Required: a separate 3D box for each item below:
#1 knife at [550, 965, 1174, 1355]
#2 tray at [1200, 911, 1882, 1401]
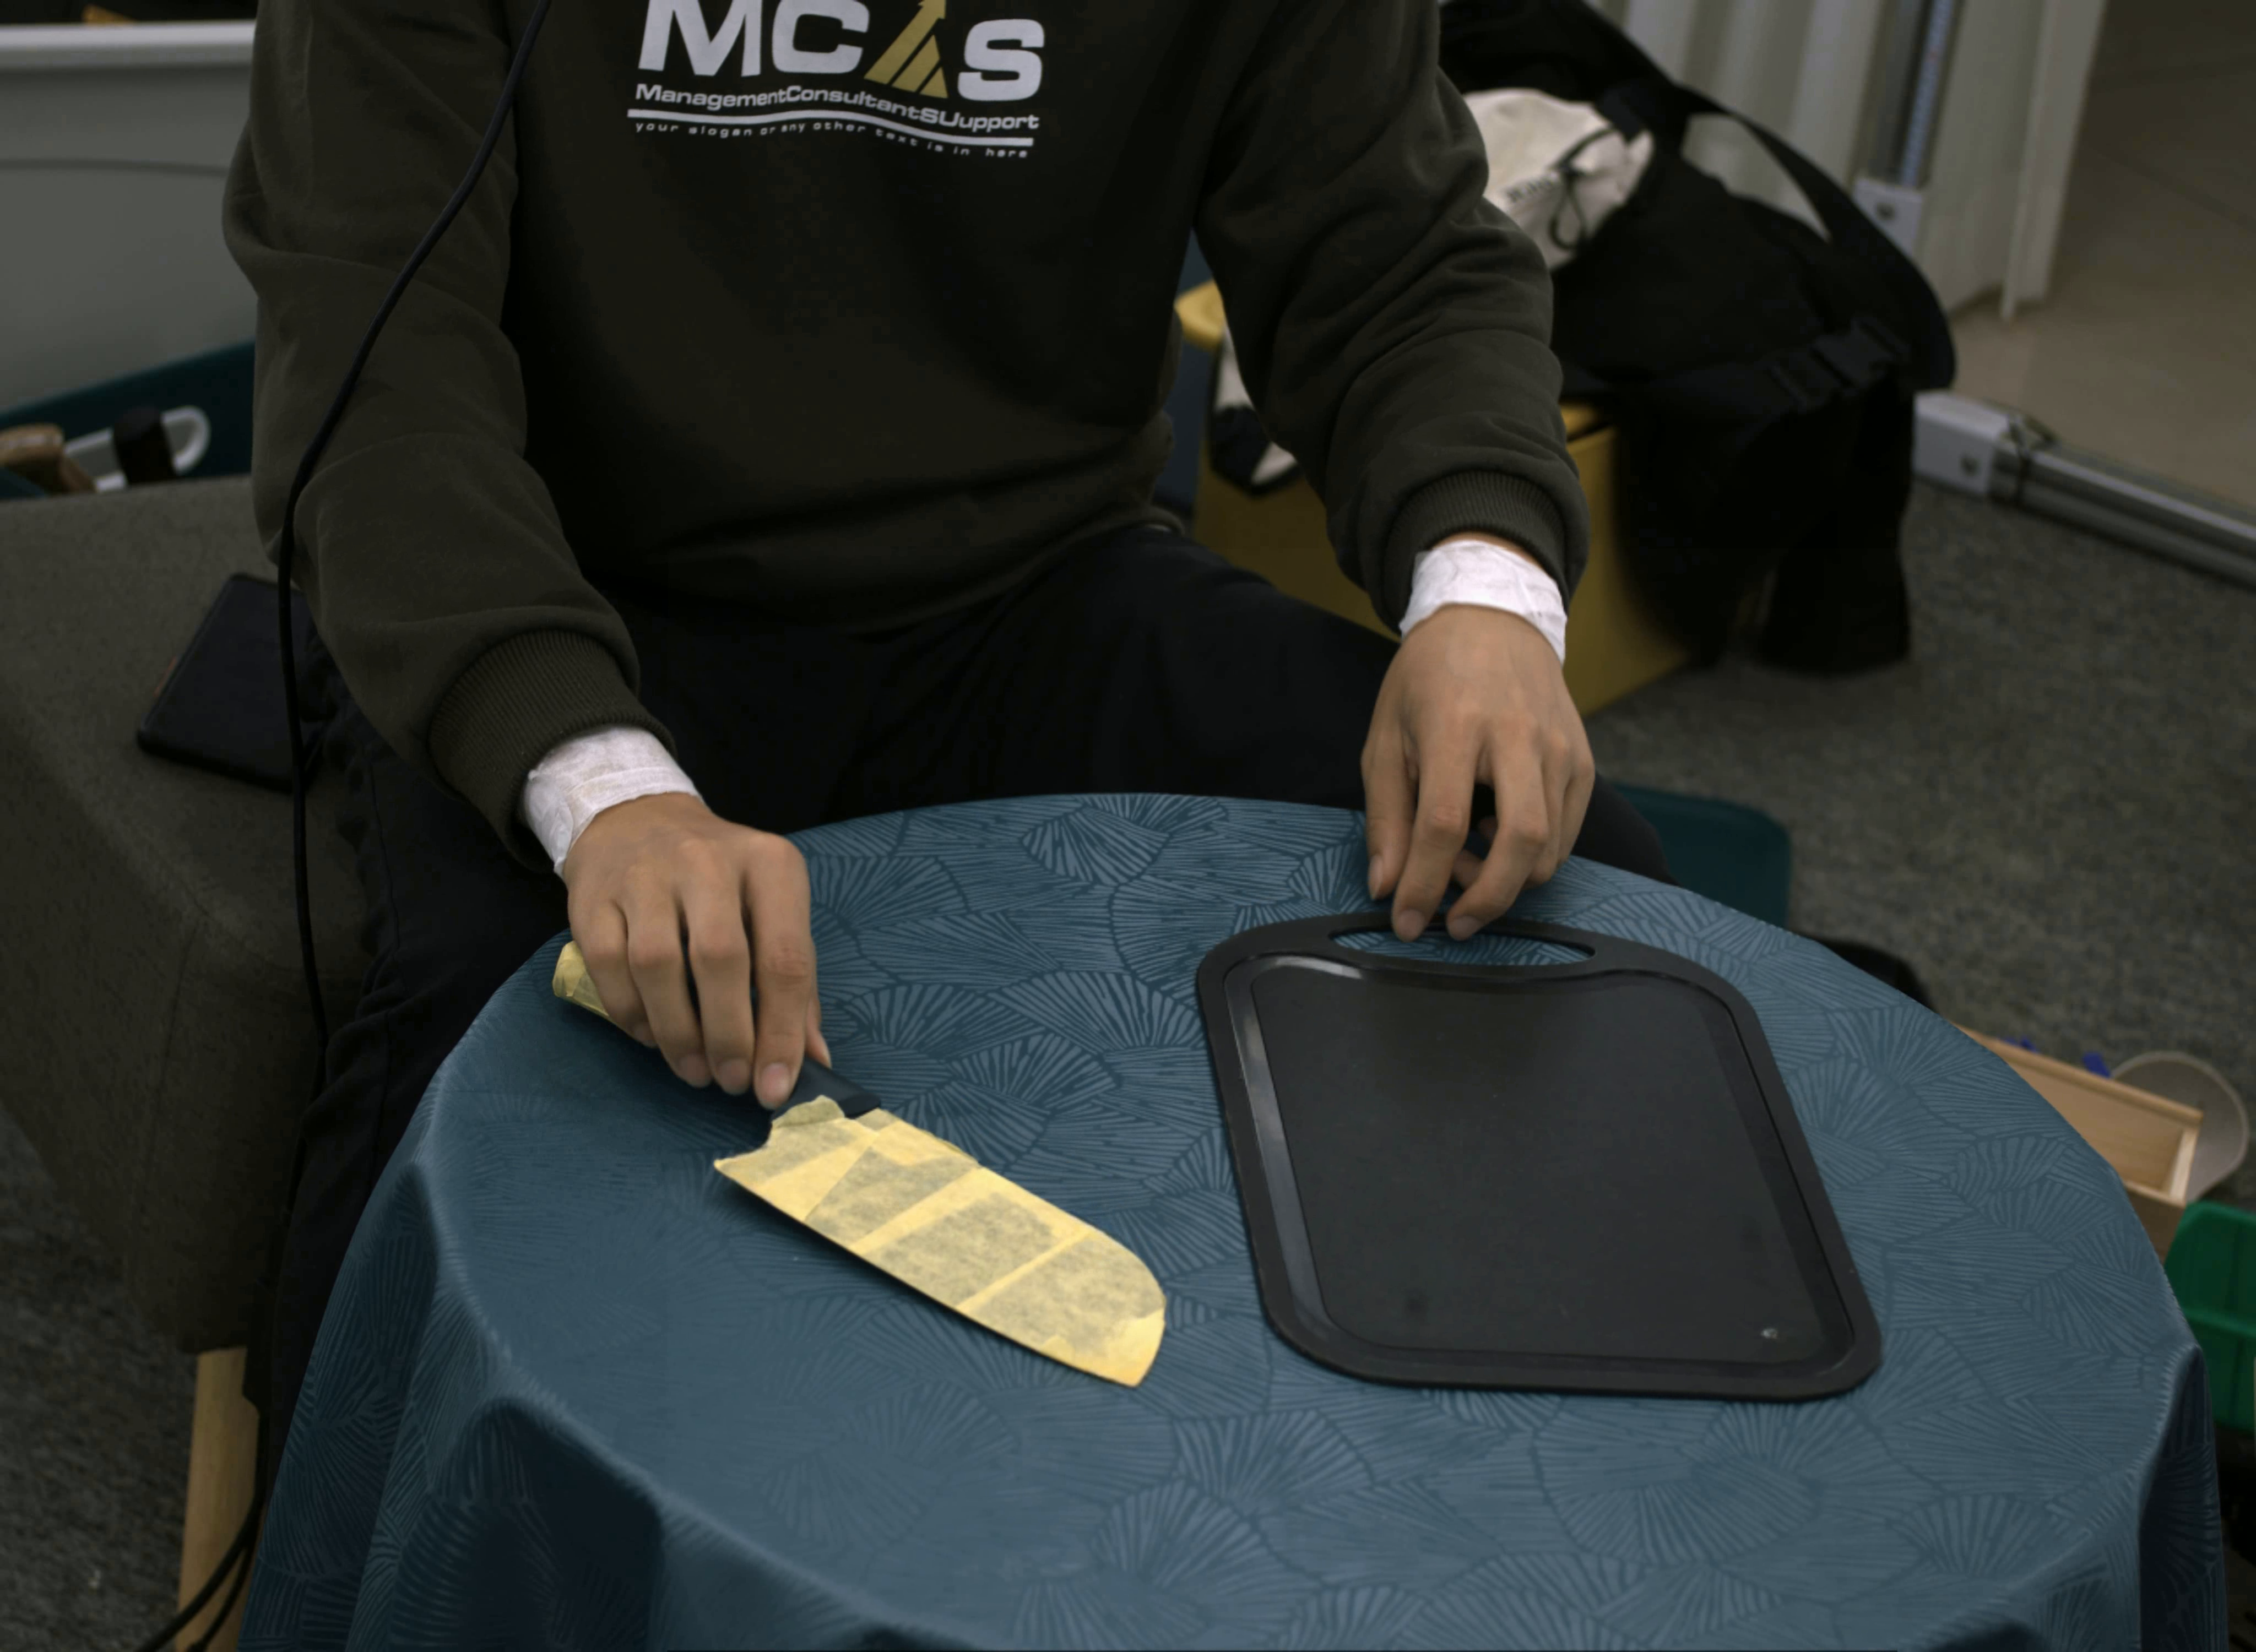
[{"bbox_3d":[-0.098,0.113,1.788,0.291,0.027,0.080,27,31,33],"label":"knife"},{"bbox_3d":[0.137,0.107,1.861,0.210,0.010,0.327,3,27,-7],"label":"tray"}]
